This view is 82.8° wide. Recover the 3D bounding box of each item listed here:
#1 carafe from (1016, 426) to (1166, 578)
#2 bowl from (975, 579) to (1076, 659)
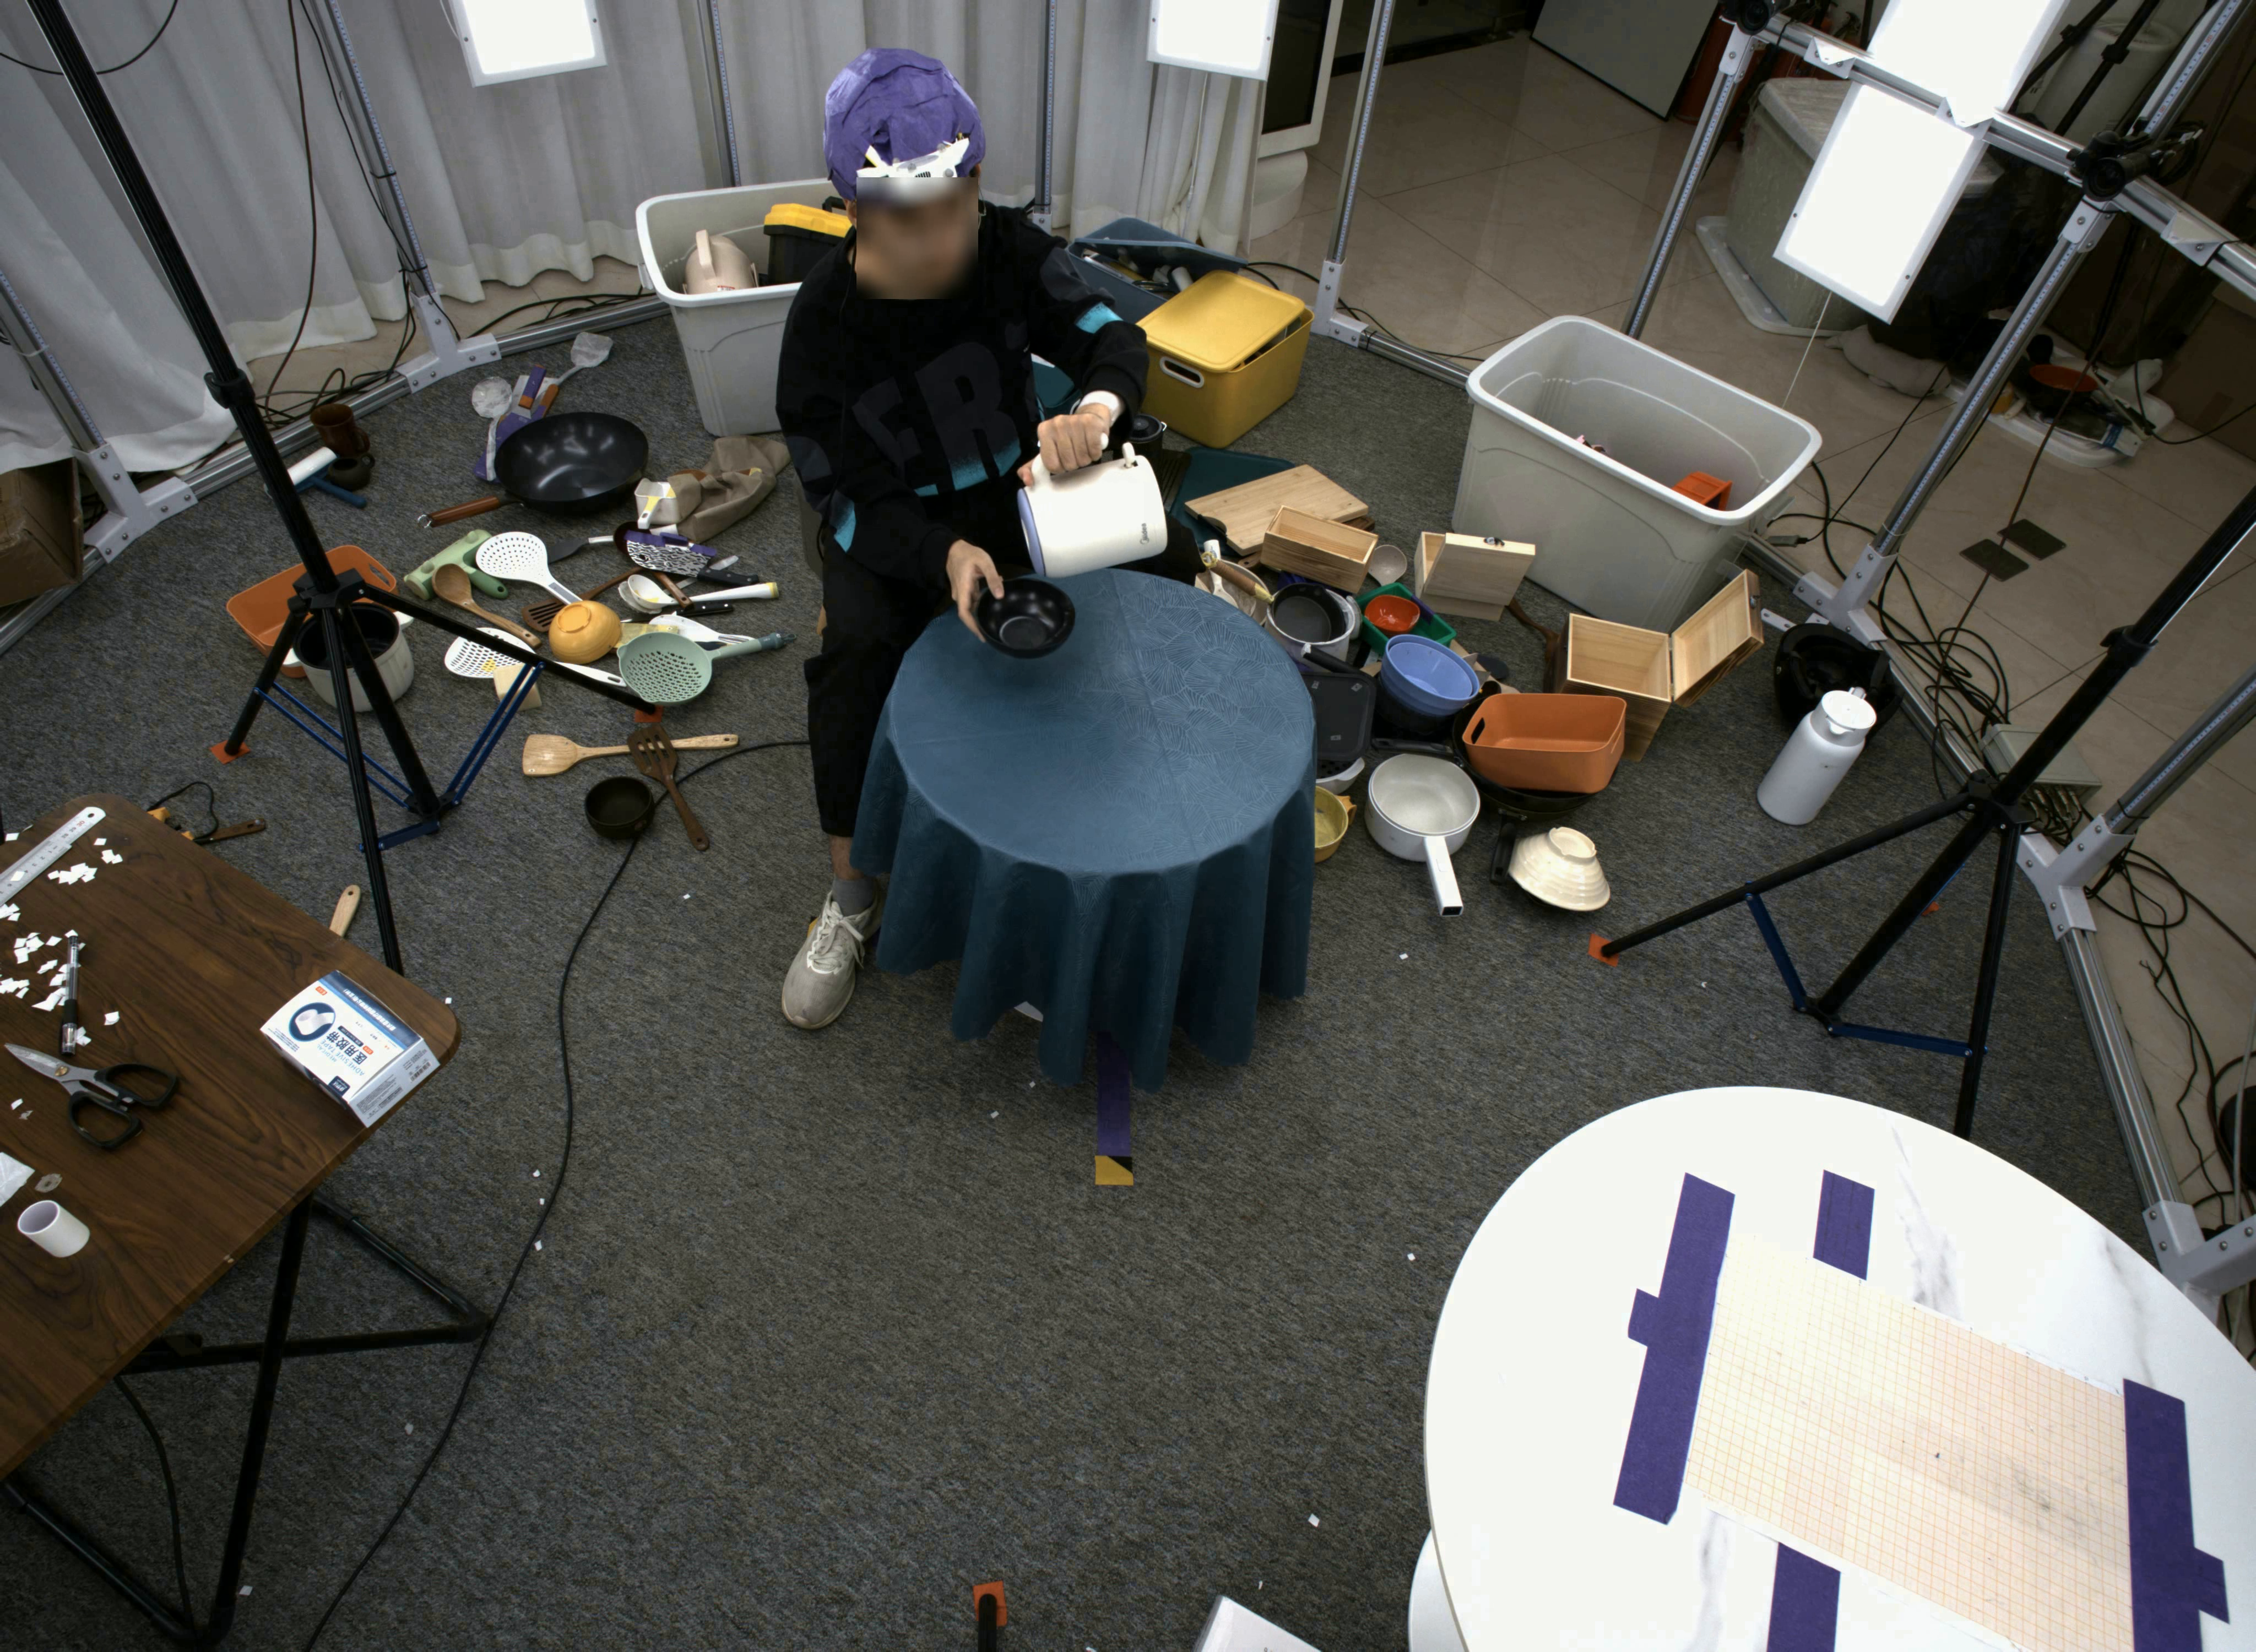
[{"bbox_3d":[-0.050,-0.420,1.664,0.182,0.186,0.135,-14,42,-7],"label":"carafe"},{"bbox_3d":[-0.142,-0.279,1.790,0.140,0.048,0.143,3,51,-4],"label":"bowl"}]
